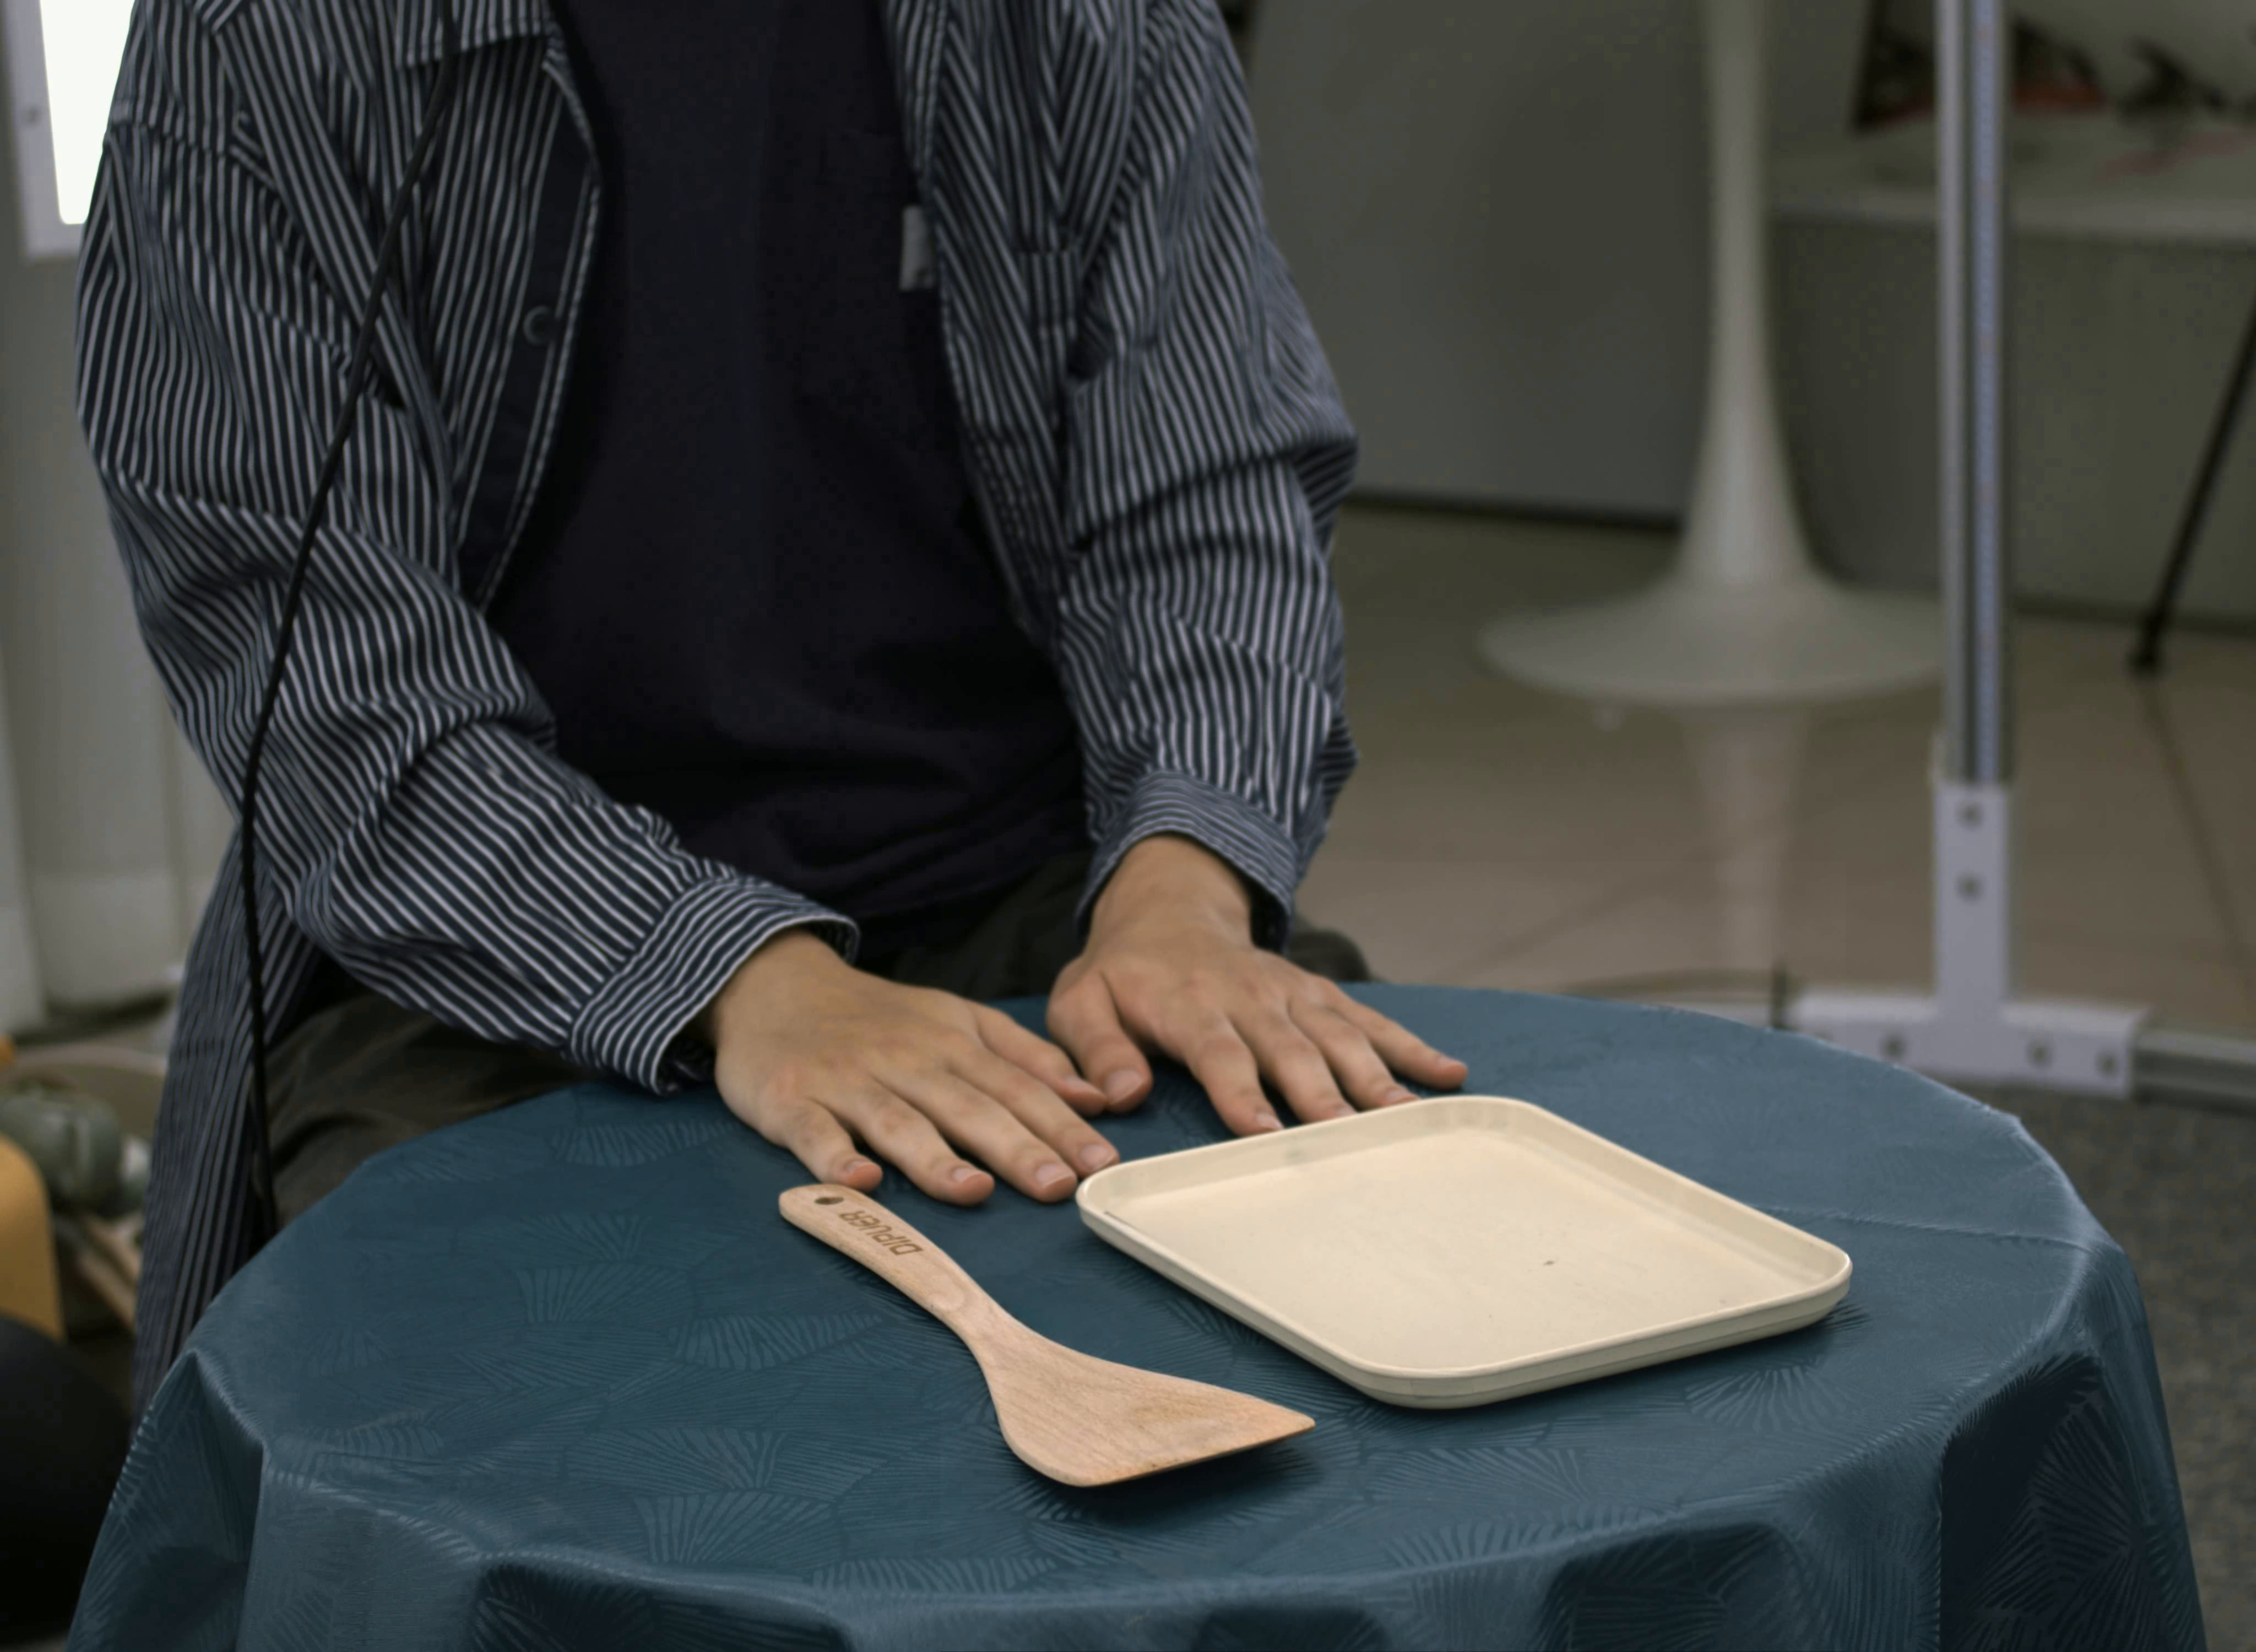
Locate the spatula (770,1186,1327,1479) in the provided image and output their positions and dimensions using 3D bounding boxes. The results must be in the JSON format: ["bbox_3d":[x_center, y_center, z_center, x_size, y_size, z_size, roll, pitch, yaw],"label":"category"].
[{"bbox_3d":[-0.040,0.148,1.635,0.078,0.017,0.331,-9,15,-23],"label":"spatula"}]

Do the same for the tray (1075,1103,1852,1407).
[{"bbox_3d":[0.100,0.131,1.663,0.167,0.017,0.242,-10,14,-24],"label":"tray"}]
